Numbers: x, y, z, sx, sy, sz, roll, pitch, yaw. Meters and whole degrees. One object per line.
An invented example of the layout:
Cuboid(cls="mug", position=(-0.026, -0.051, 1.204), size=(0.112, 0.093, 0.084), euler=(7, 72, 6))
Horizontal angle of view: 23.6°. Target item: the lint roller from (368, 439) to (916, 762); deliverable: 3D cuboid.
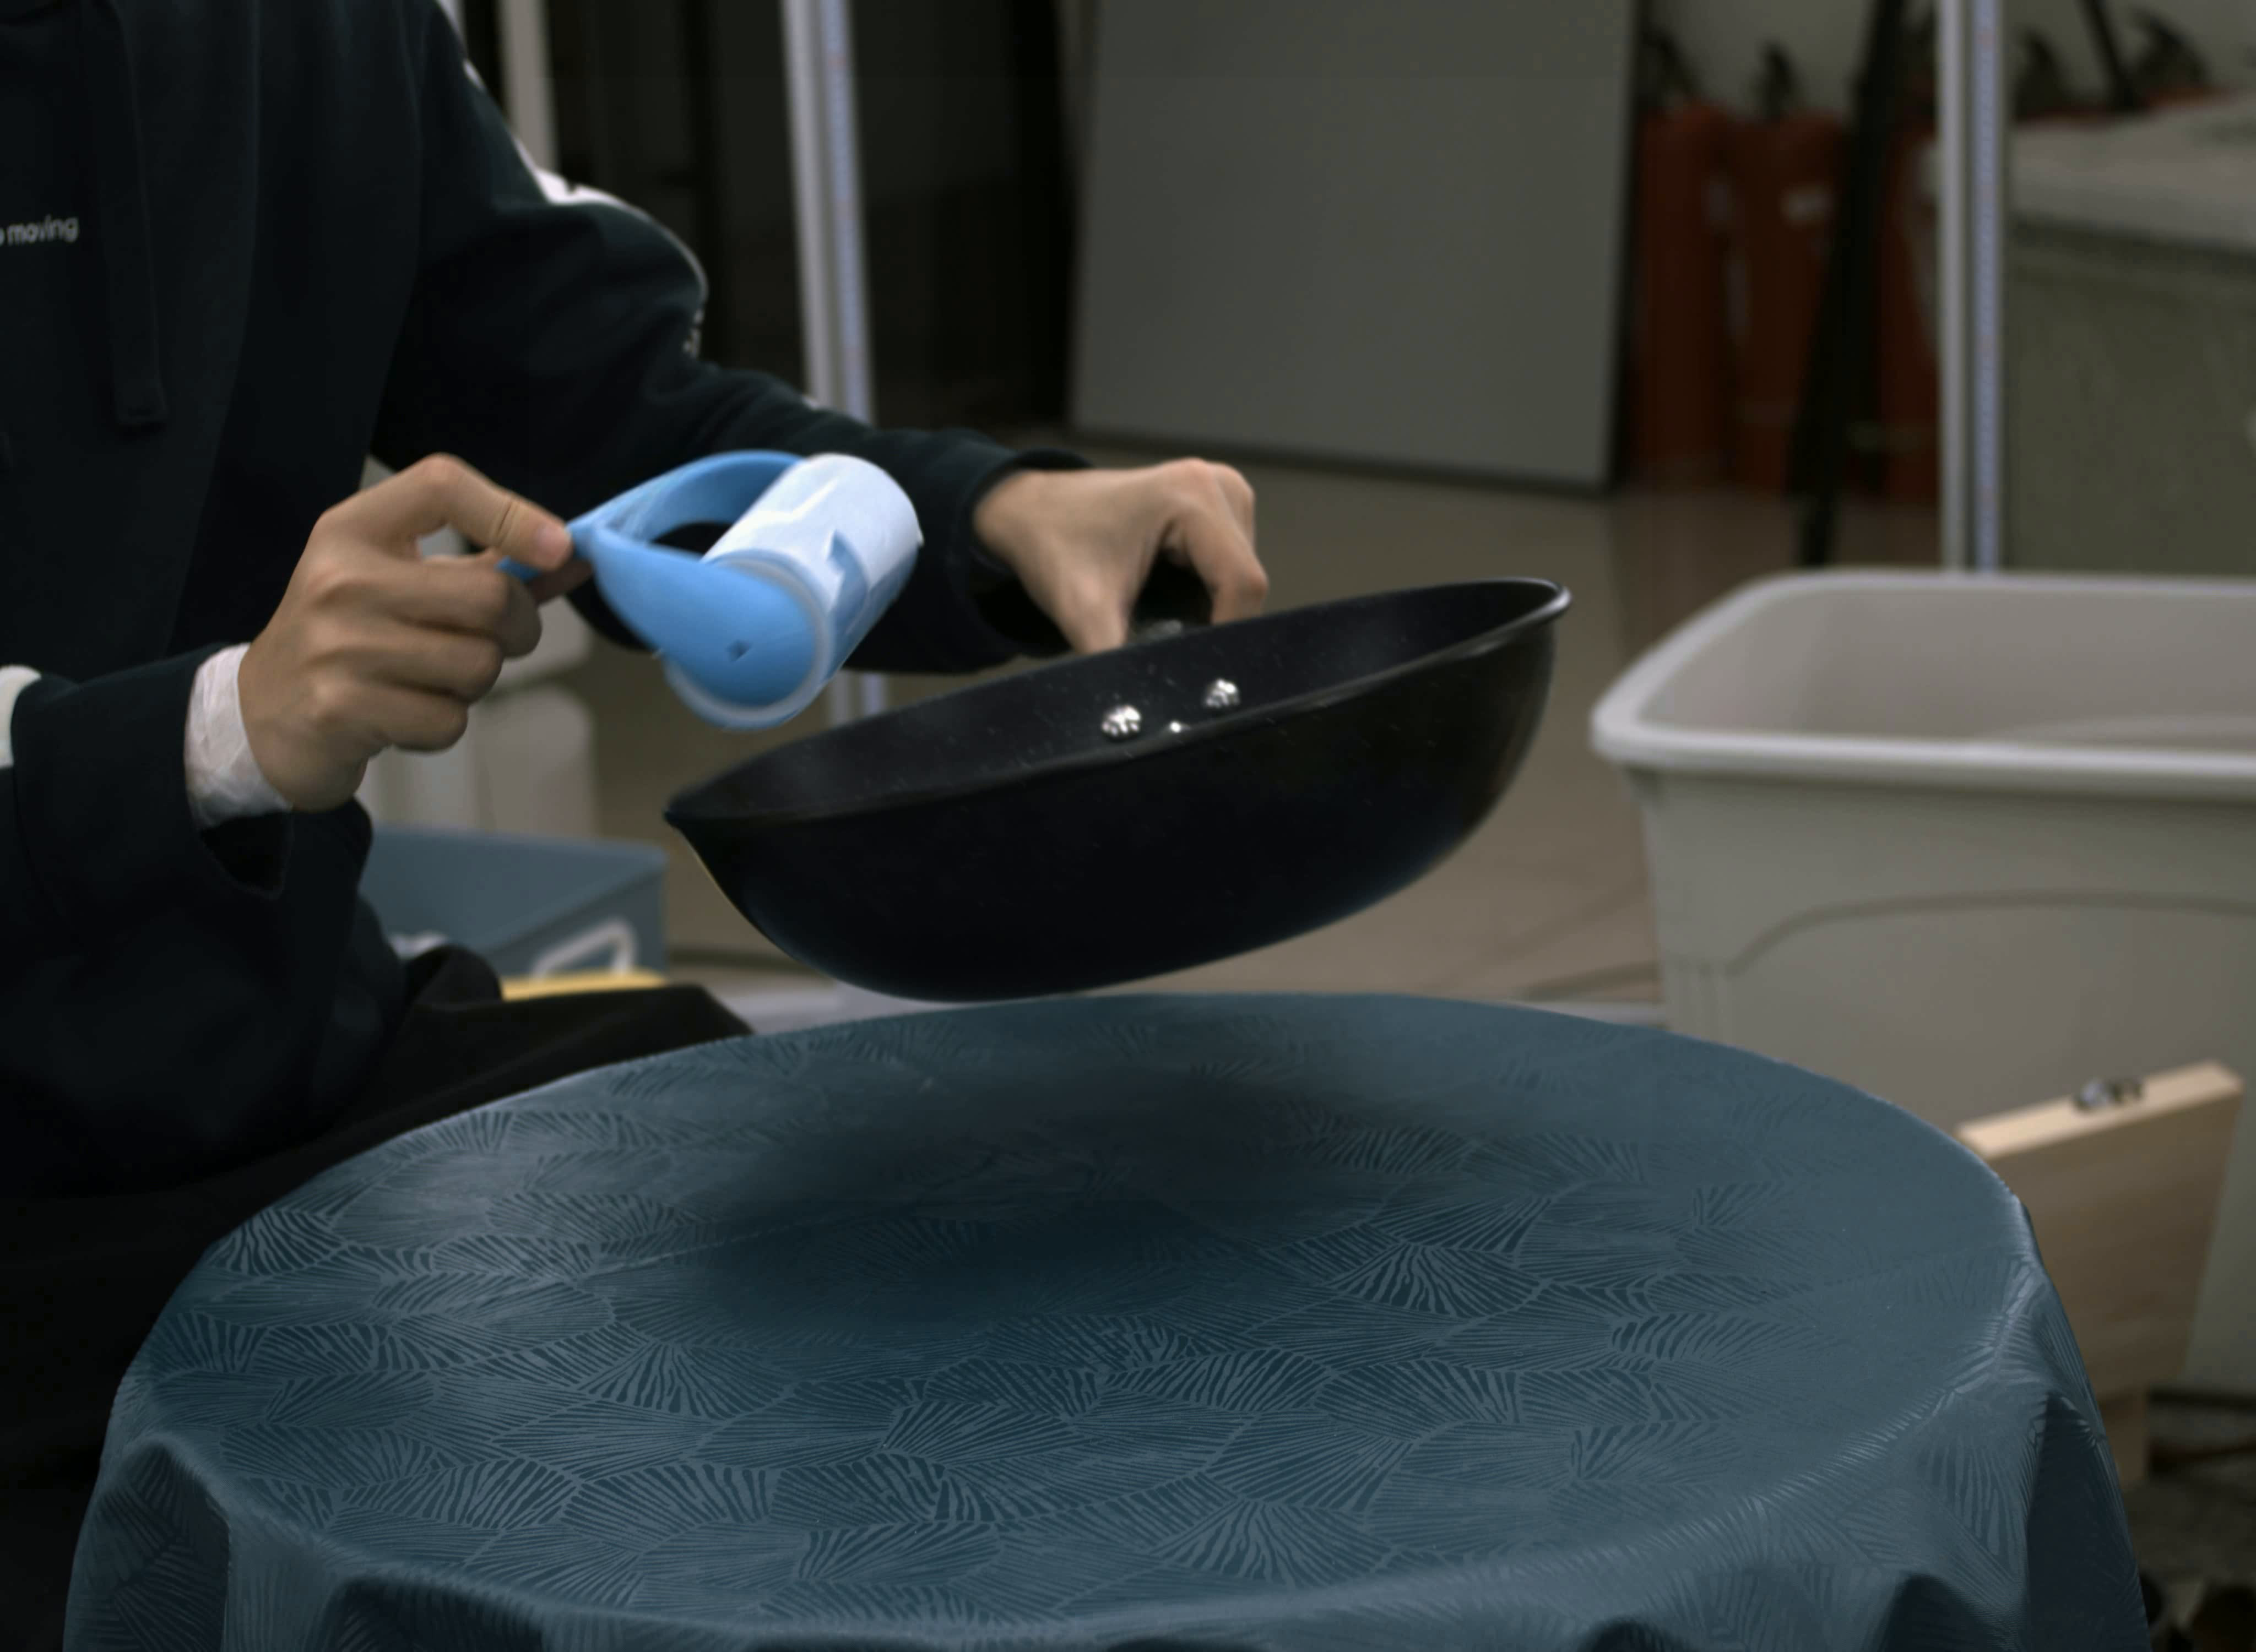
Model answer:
Cuboid(cls="lint roller", position=(-0.156, -0.070, 1.683), size=(0.178, 0.068, 0.229), euler=(-13, 12, 3))

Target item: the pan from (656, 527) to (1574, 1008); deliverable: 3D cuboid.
Cuboid(cls="pan", position=(0.009, -0.025, 1.851), size=(0.308, 0.113, 0.475), euler=(-12, 7, 7))
